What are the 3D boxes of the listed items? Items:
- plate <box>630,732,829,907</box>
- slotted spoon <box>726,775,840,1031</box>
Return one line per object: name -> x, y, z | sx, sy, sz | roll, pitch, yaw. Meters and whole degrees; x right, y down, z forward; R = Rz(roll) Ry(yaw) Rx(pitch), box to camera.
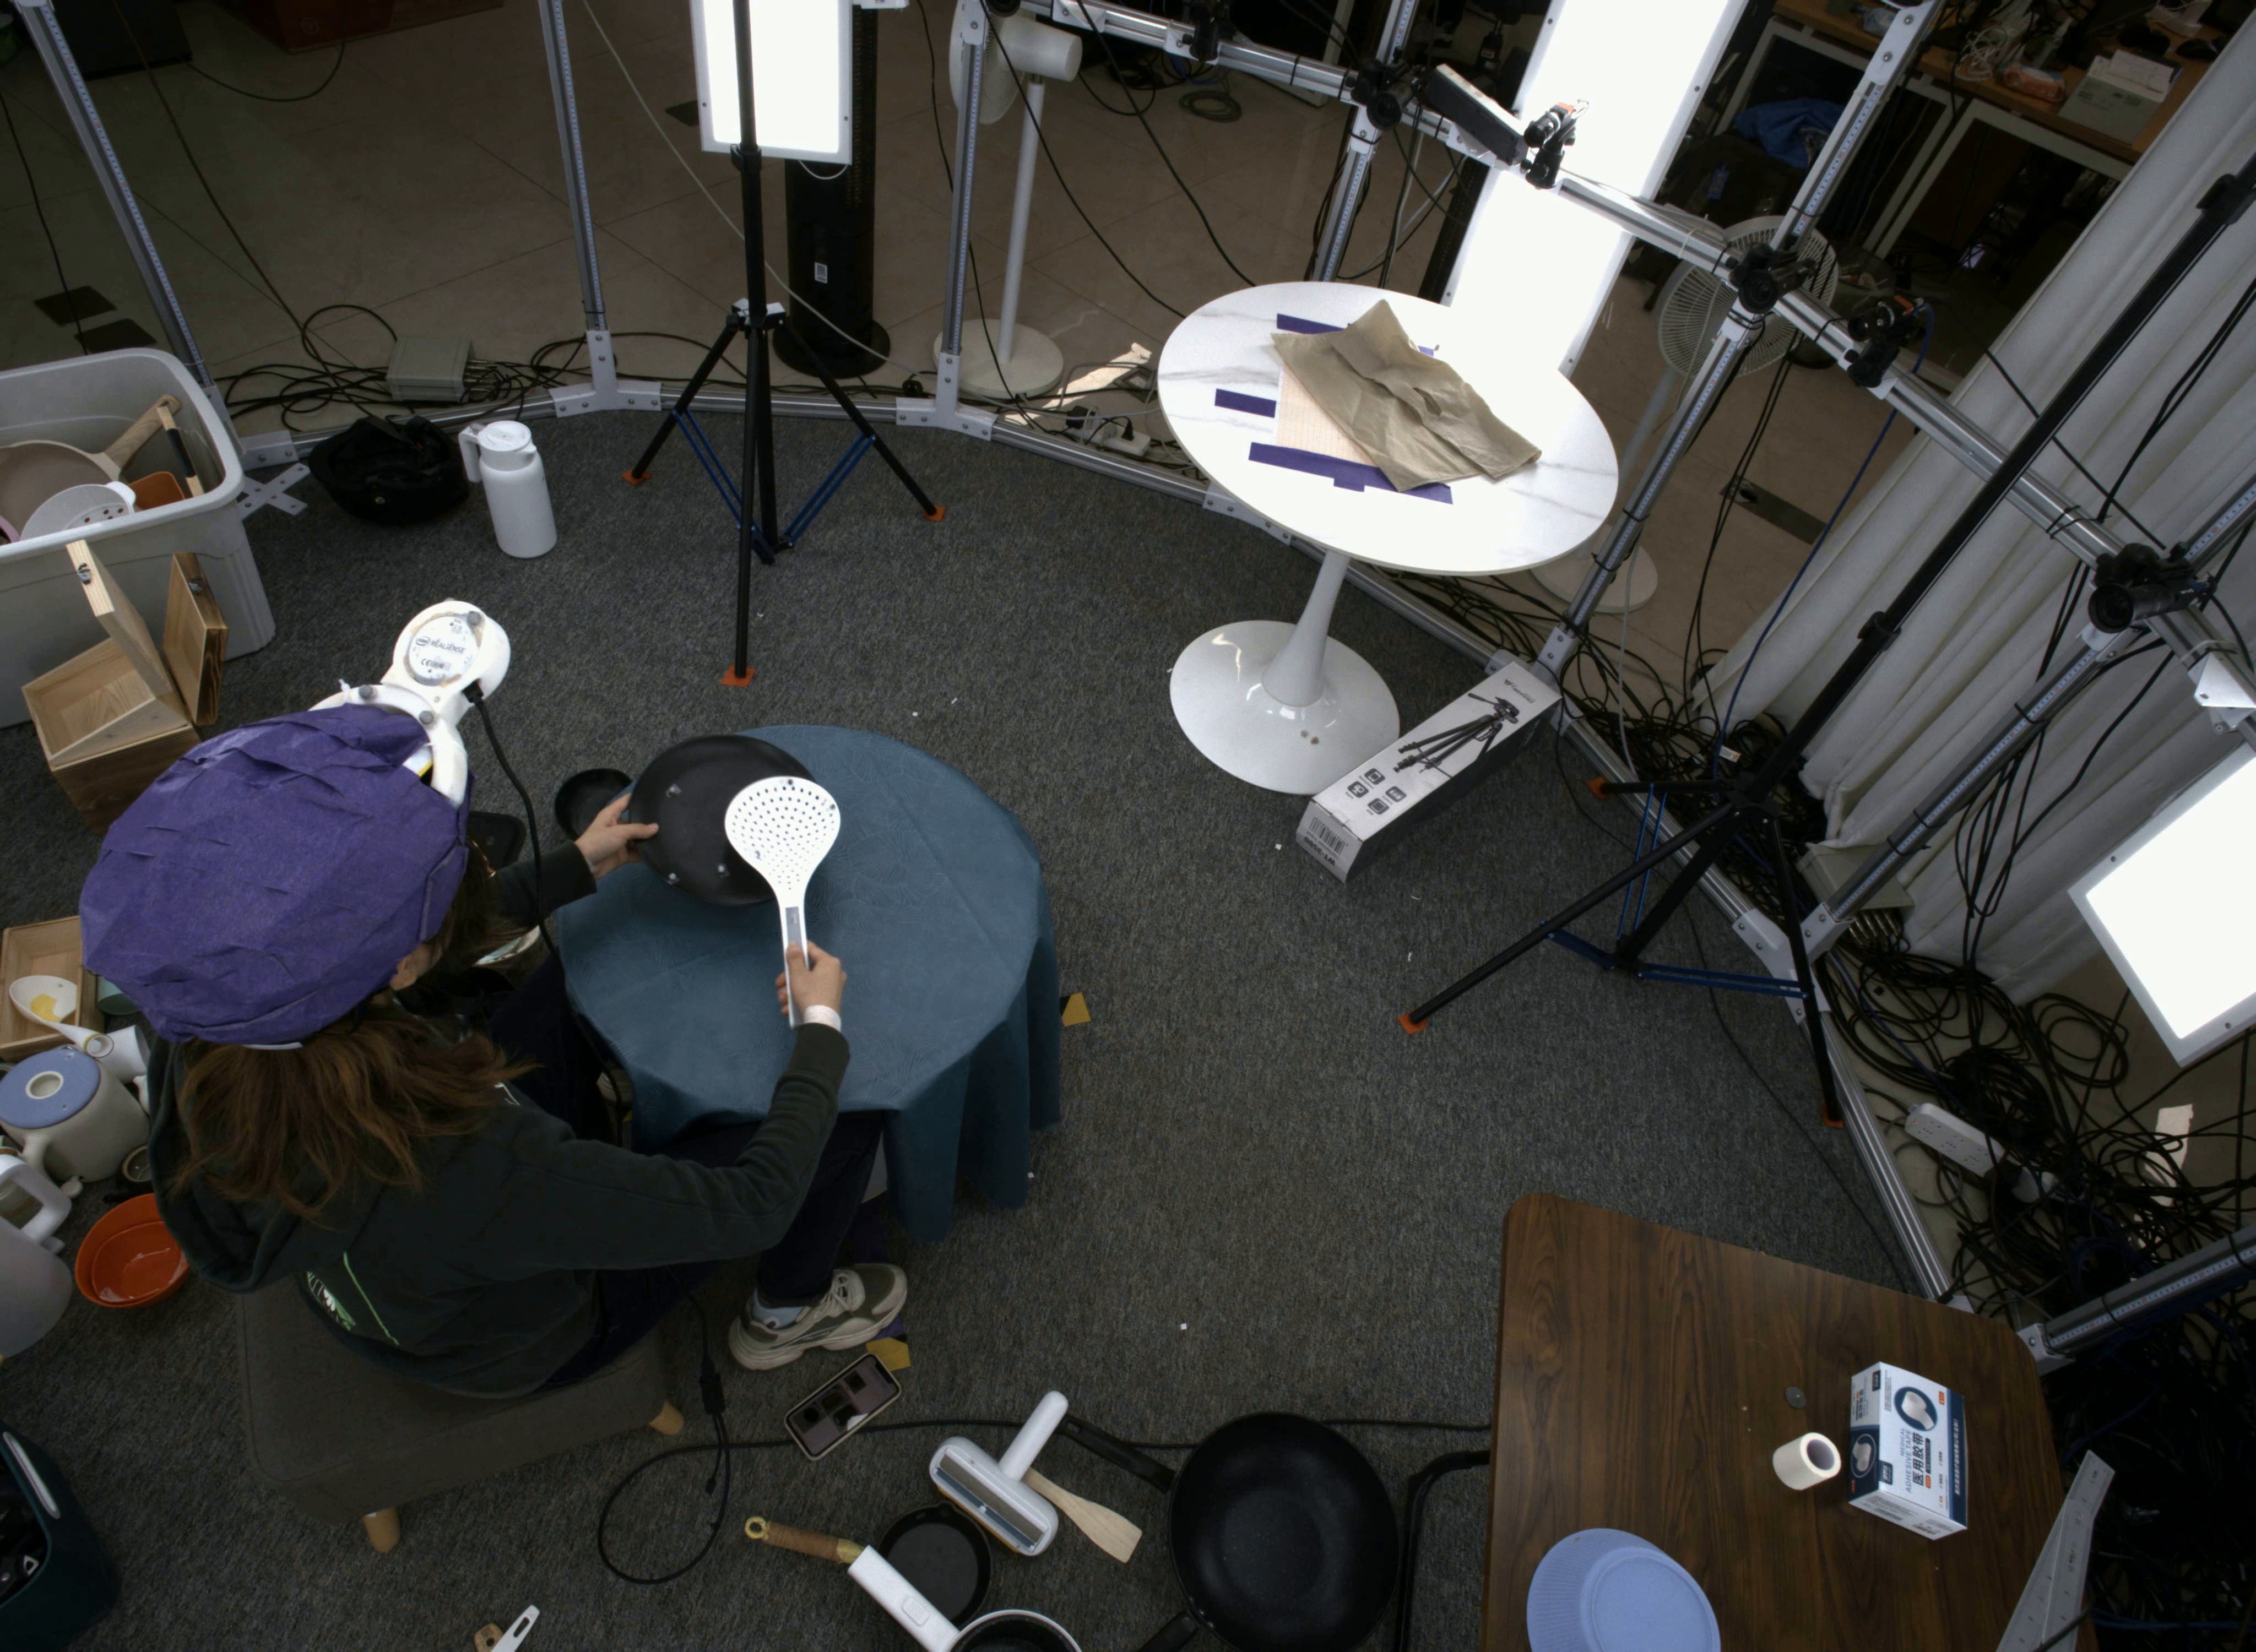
plate -> -0.495, -0.008, 1.605 | 0.247, 0.023, 0.241 | 13, 58, -20
slotted spoon -> -0.395, 0.082, 1.519 | 0.136, 0.047, 0.340 | -7, 51, -13
